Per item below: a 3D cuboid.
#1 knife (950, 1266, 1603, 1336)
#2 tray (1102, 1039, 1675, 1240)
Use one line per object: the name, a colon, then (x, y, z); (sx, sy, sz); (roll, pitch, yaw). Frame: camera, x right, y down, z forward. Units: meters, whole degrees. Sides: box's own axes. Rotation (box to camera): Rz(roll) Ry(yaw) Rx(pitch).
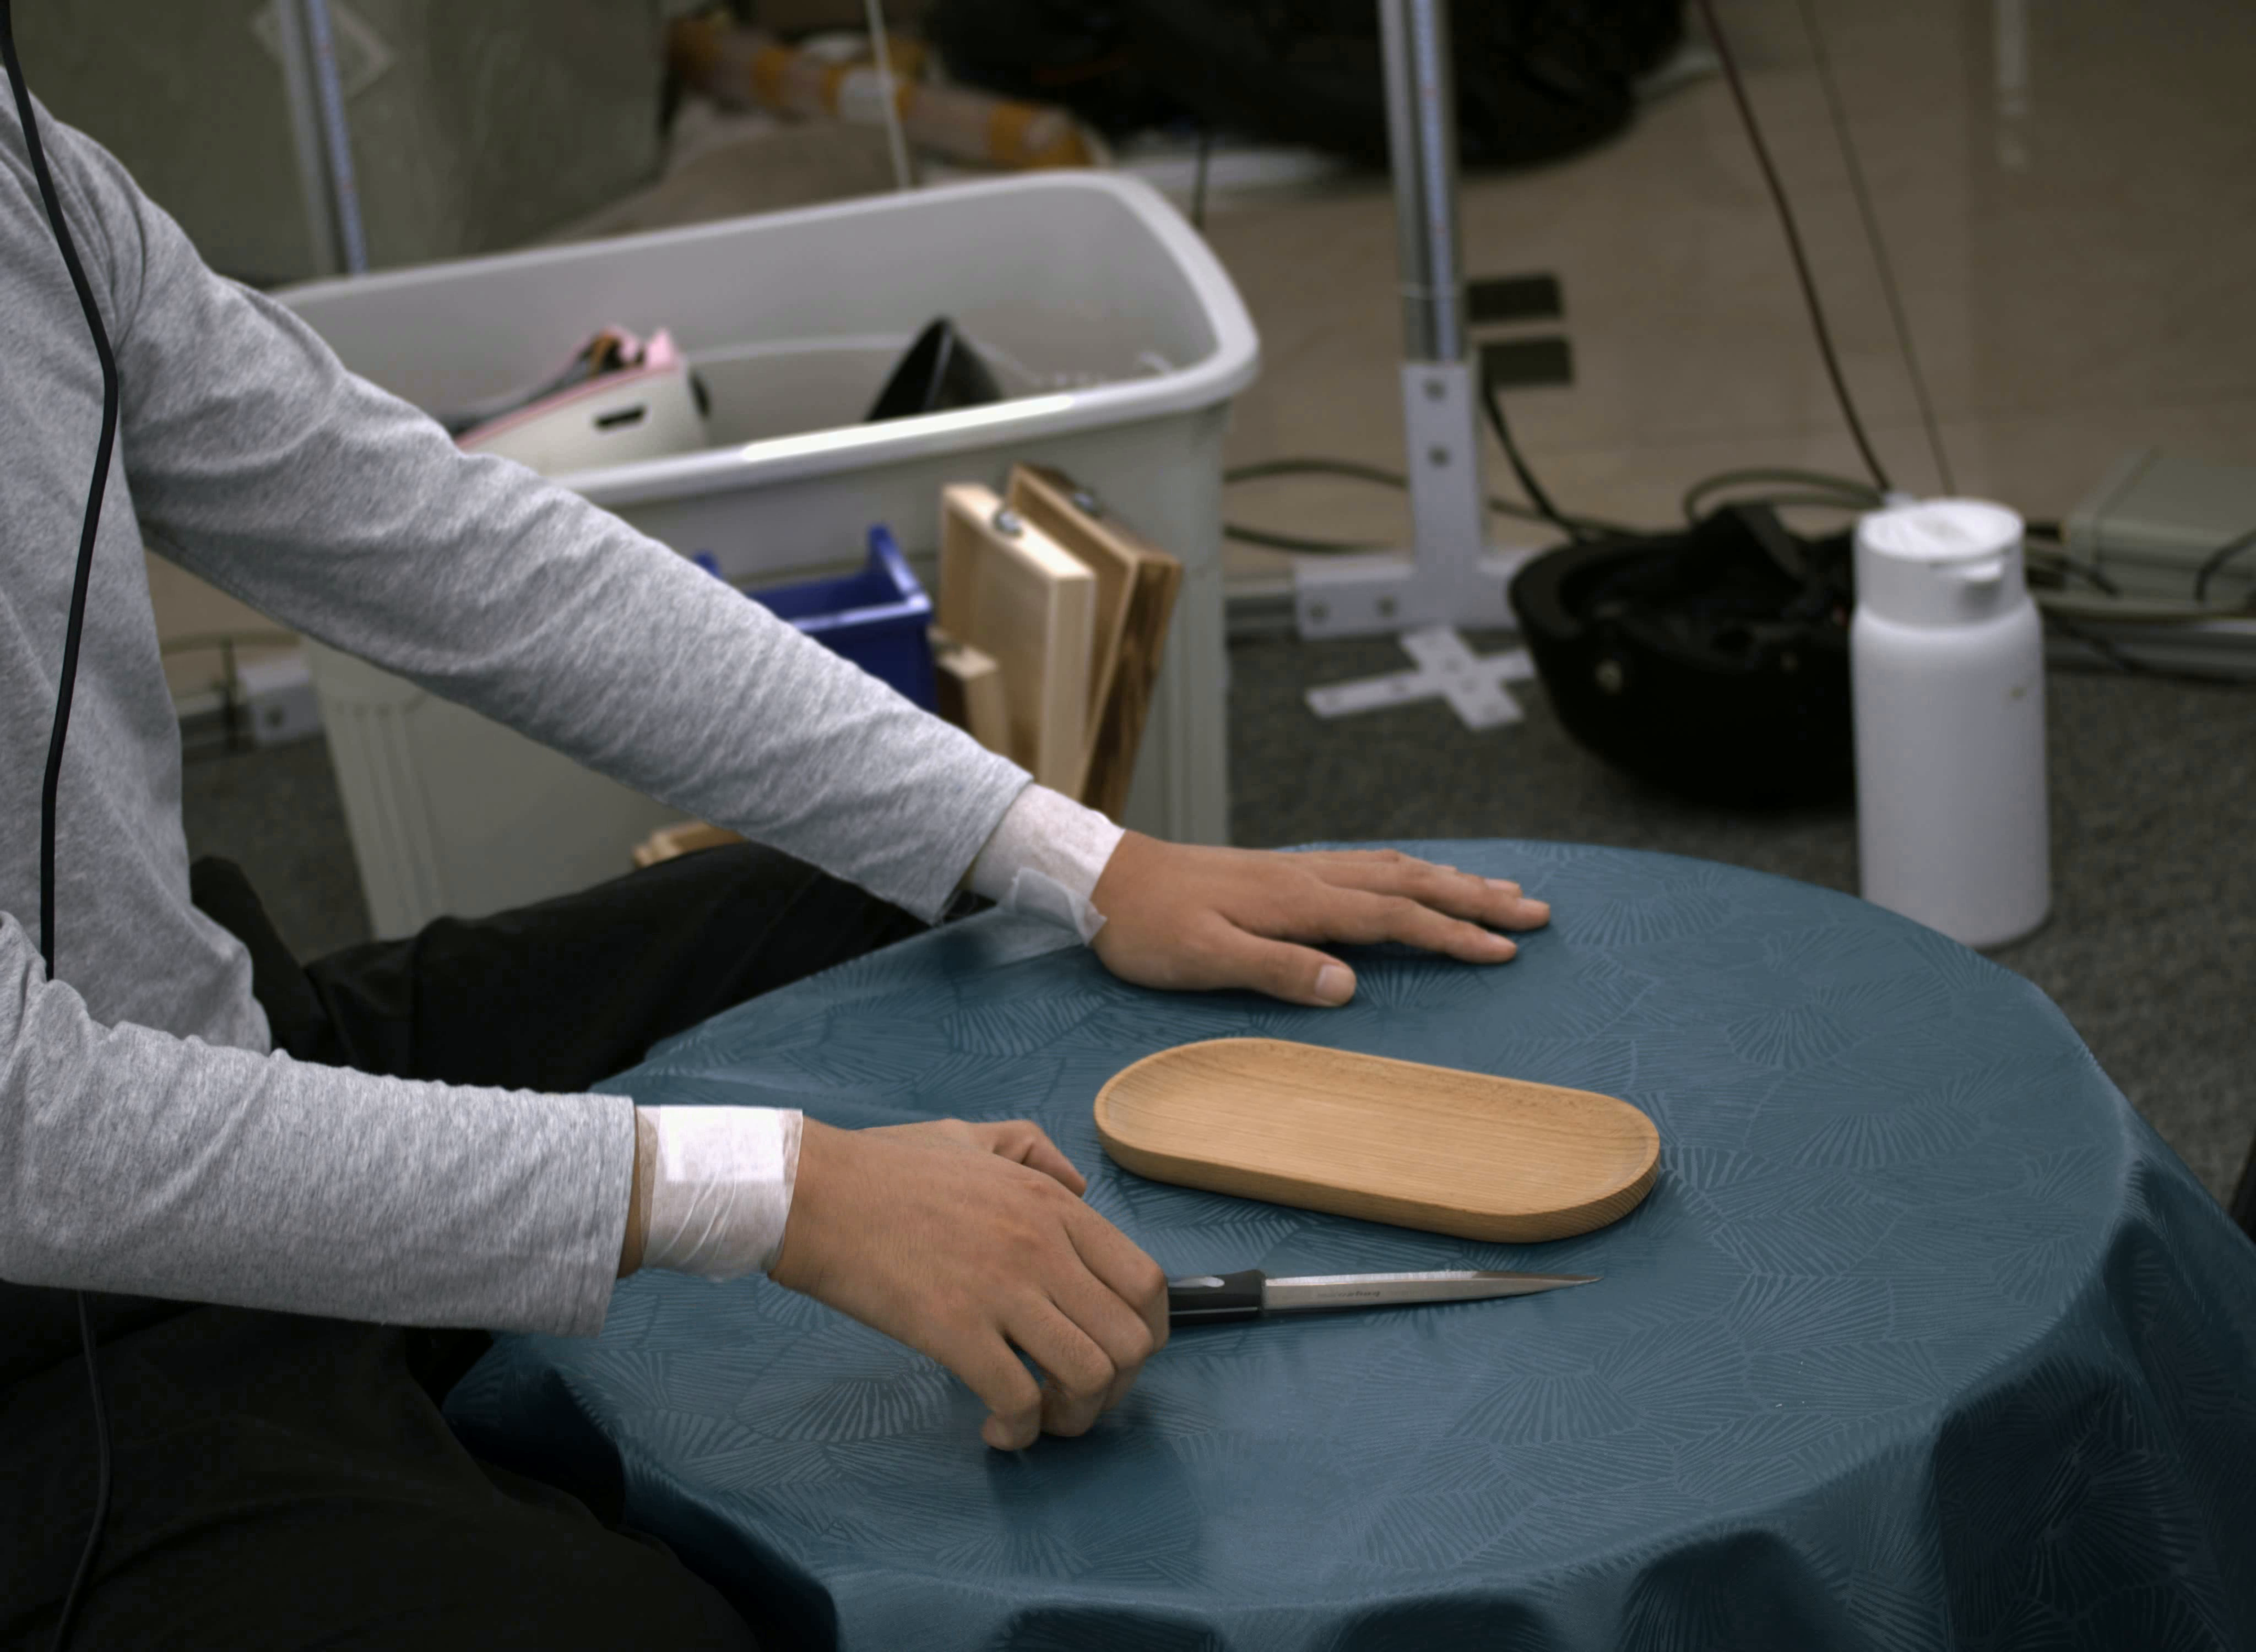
knife: (0.054, 0.170, 2.058); (0.238, 0.016, 0.024); (-3, 24, 0)
tray: (0.097, 0.119, 2.153); (0.230, 0.020, 0.100); (9, 30, 27)
